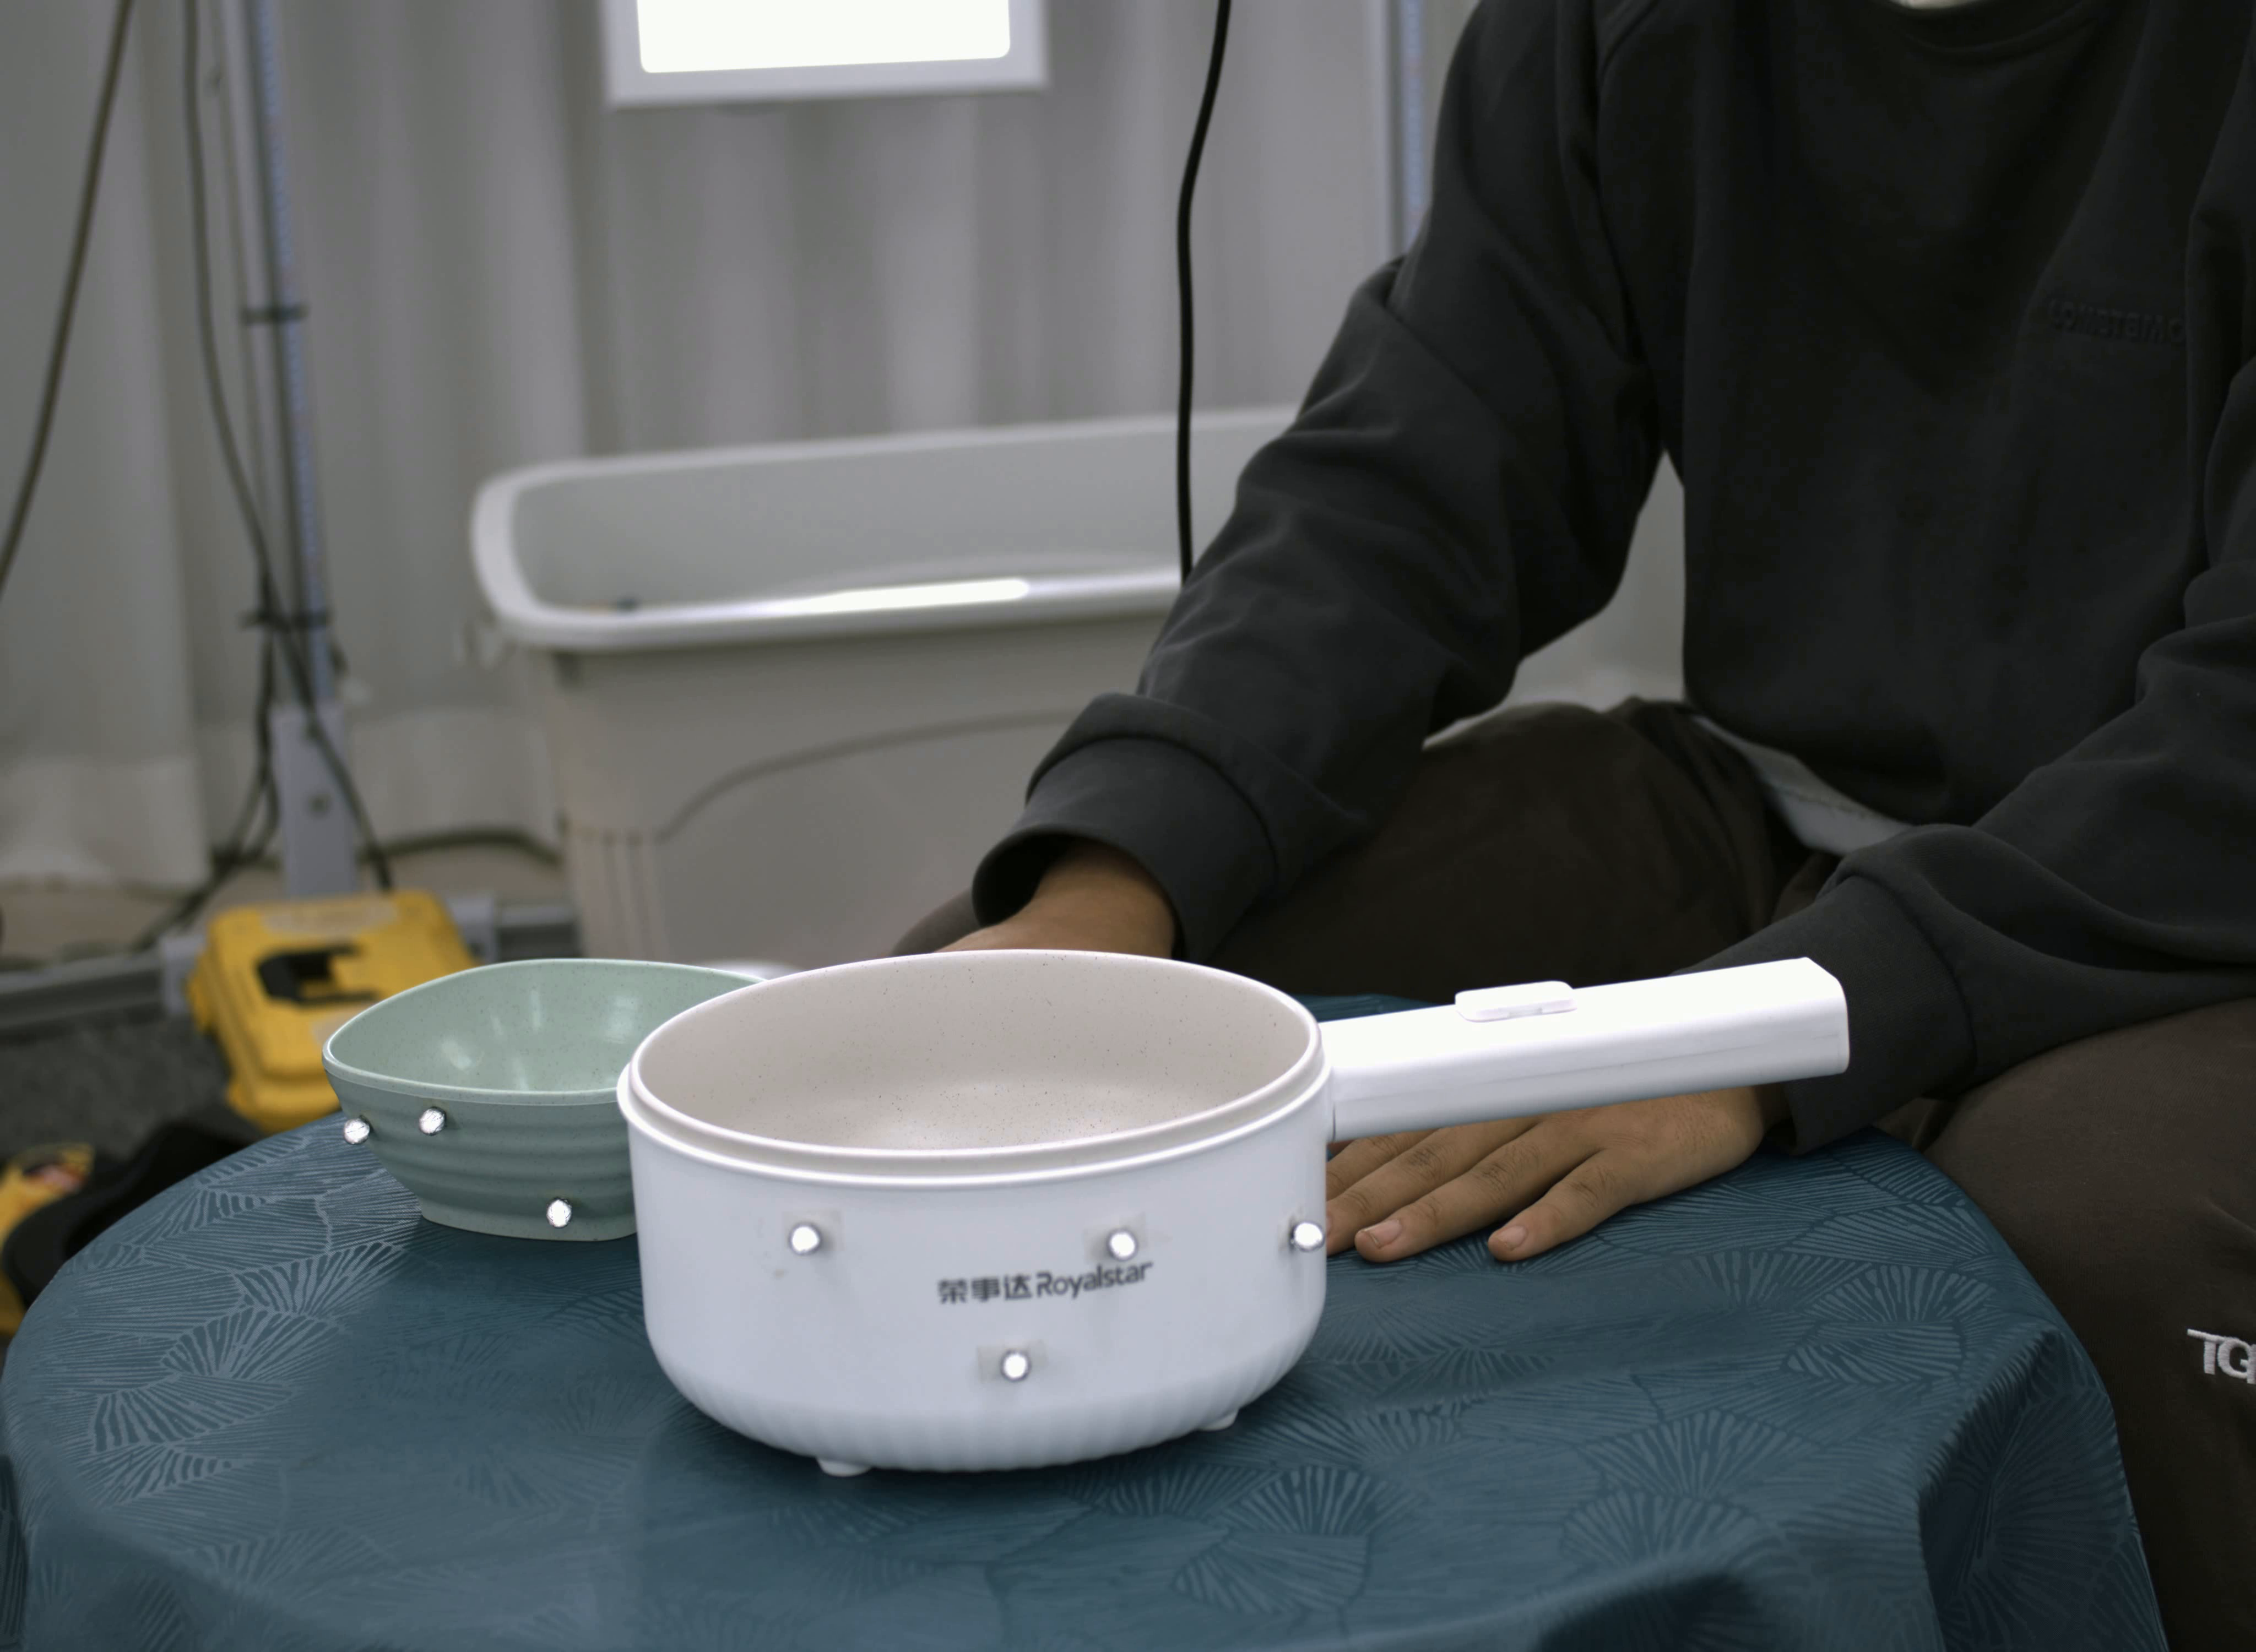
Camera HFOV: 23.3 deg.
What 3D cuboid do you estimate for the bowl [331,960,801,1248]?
[{"bbox_3d":[-0.175,0.091,1.730,0.151,0.058,0.152,-4,16,1],"label":"bowl"}]

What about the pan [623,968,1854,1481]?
[{"bbox_3d":[0.034,0.108,1.563,0.353,0.102,0.202,-5,13,-13],"label":"pan"}]
